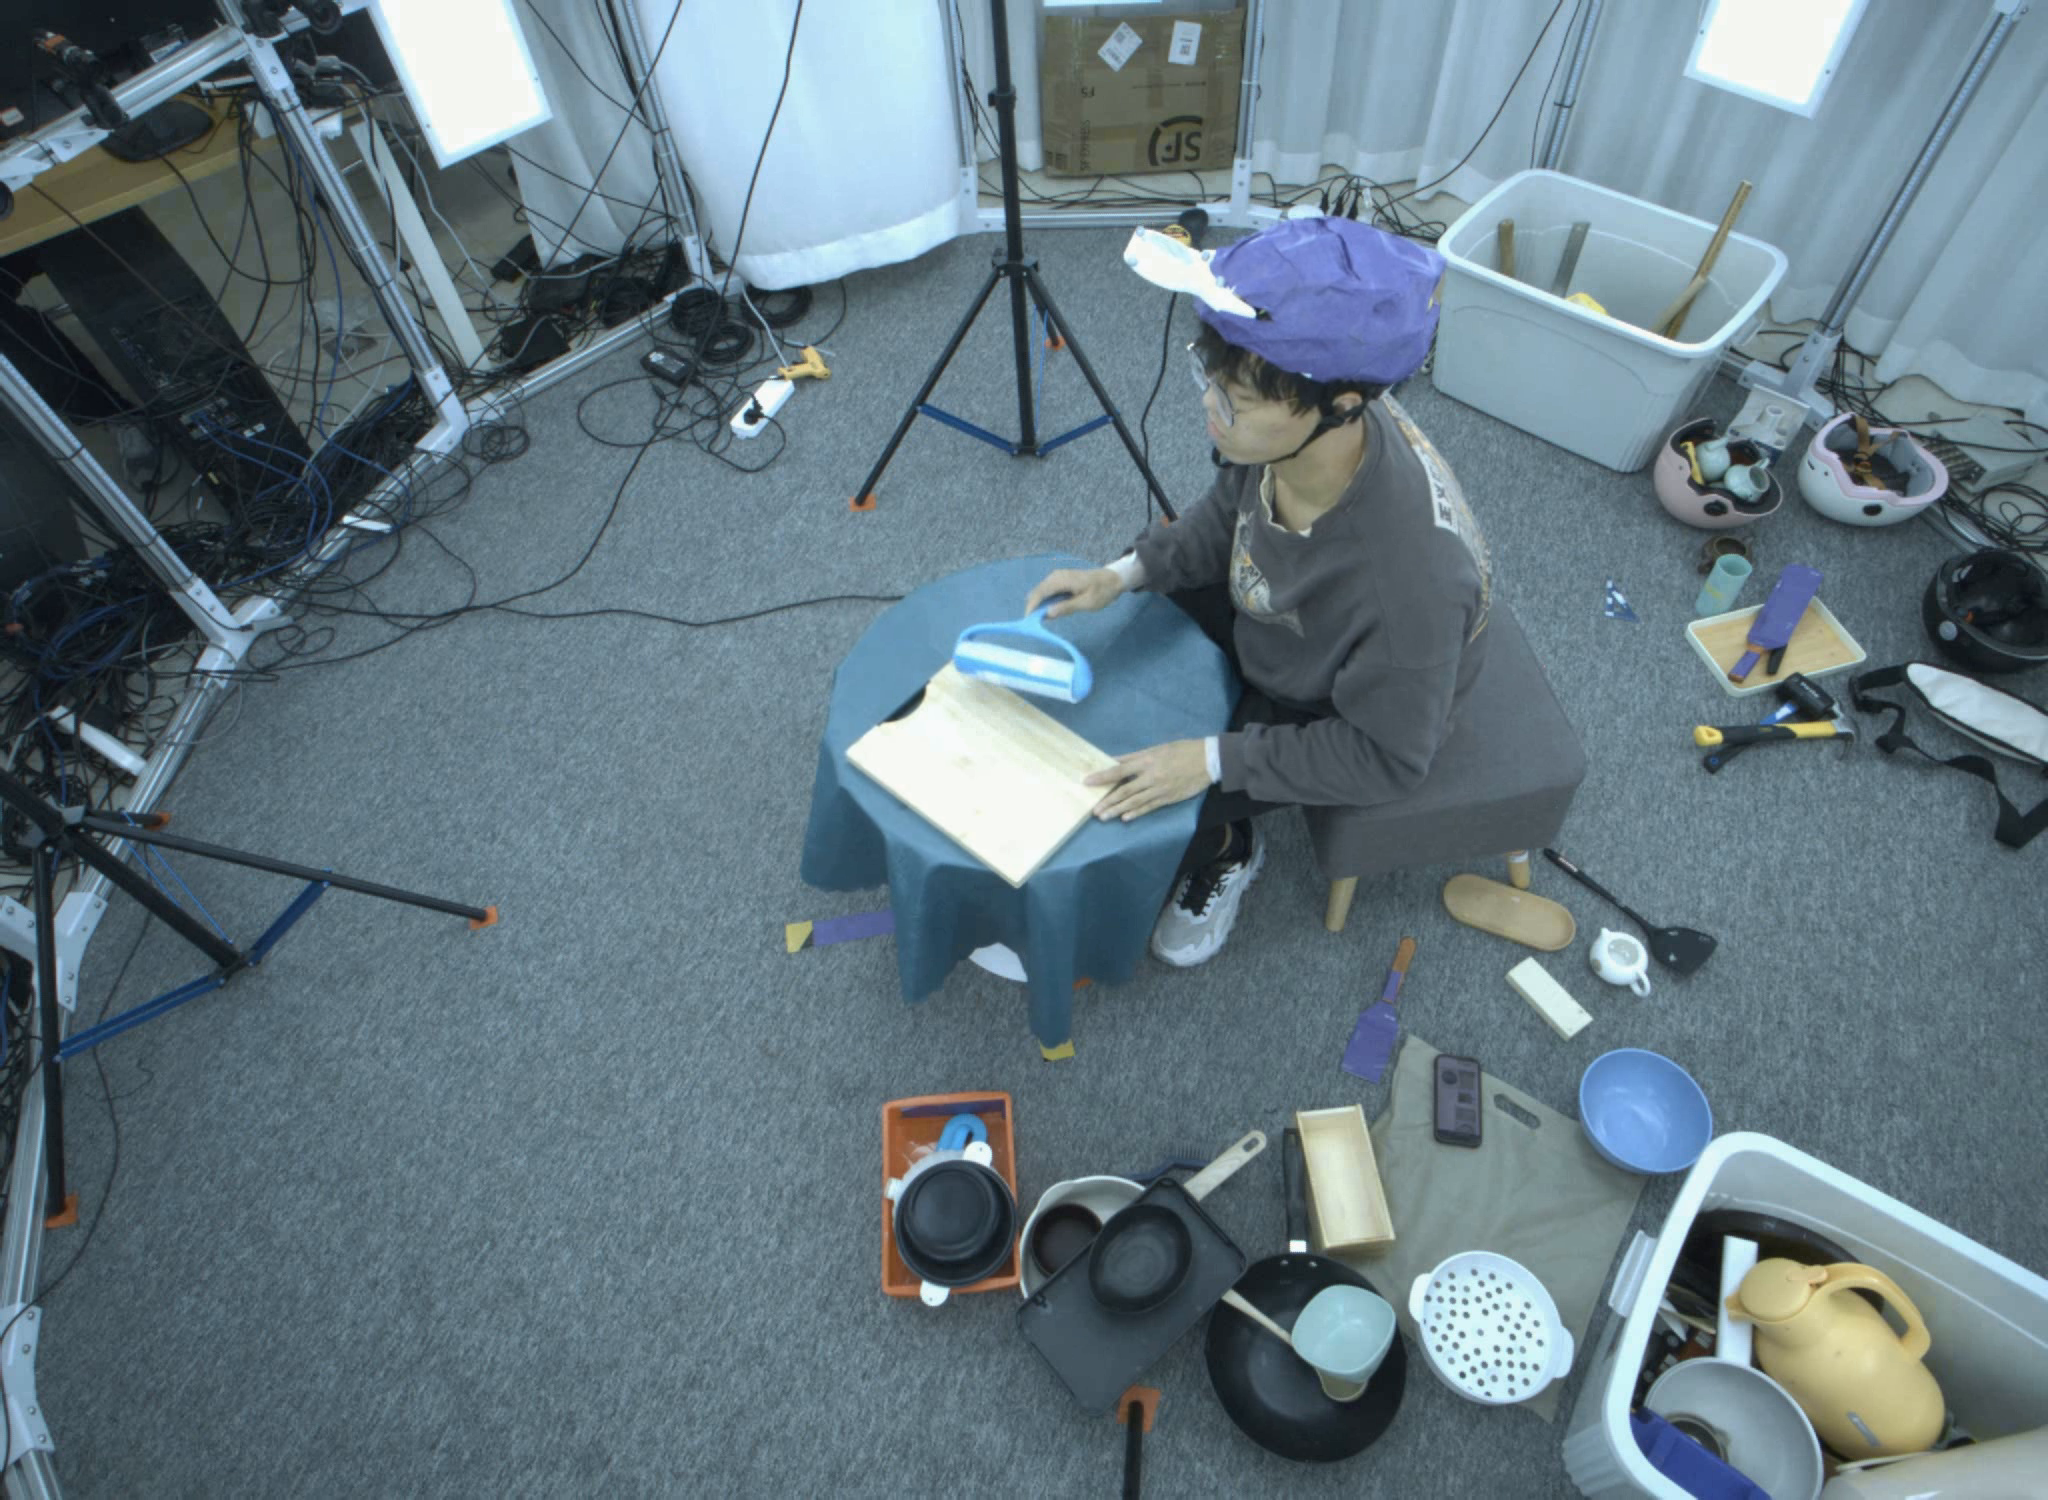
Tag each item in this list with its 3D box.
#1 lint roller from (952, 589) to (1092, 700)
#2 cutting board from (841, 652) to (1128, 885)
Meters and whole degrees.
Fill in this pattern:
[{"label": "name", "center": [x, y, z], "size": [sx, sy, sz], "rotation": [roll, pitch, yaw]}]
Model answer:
[{"label": "lint roller", "center": [0.016, -0.171, 1.777], "size": [0.224, 0.069, 0.180], "rotation": [13, 70, 27]}, {"label": "cutting board", "center": [-0.059, 0.017, 1.765], "size": [0.342, 0.024, 0.252], "rotation": [34, 62, 23]}]
